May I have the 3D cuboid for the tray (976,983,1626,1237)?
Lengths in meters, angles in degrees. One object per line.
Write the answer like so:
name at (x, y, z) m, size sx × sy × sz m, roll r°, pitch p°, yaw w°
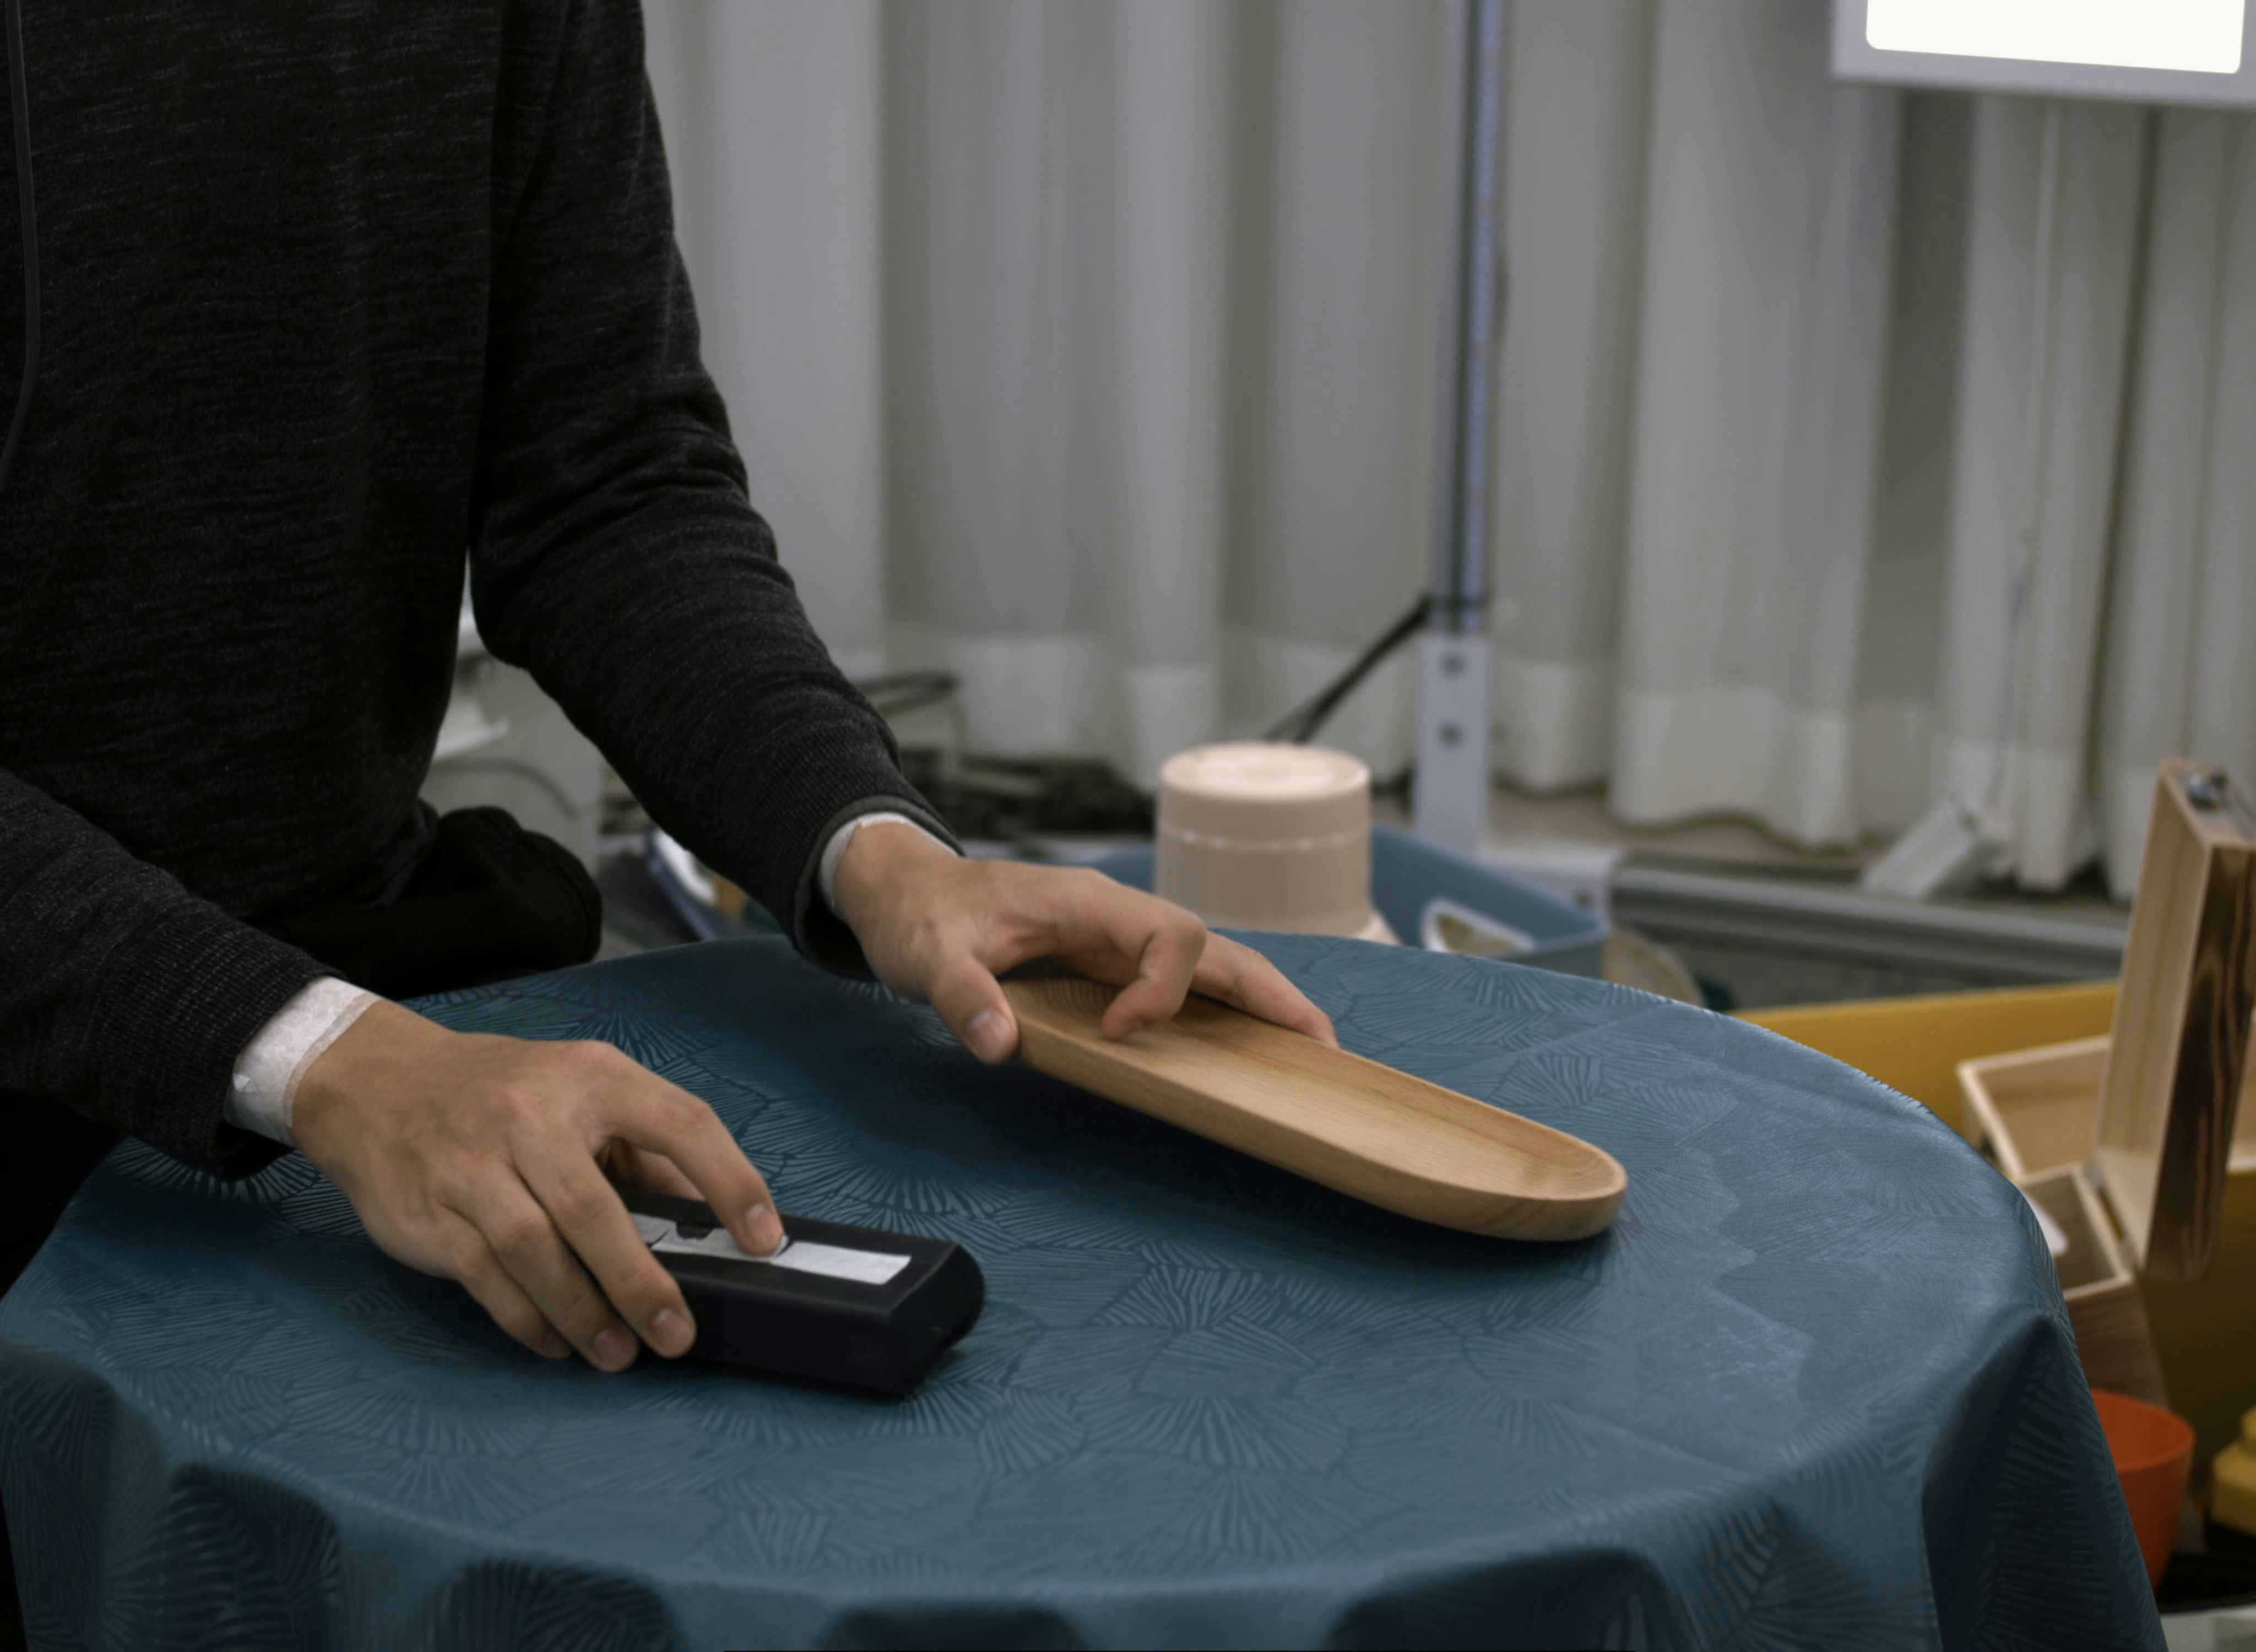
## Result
tray at (0.051, 0.087, 1.634) m, size 0.228 × 0.020 × 0.102 m, roll 17°, pitch 12°, yaw 36°

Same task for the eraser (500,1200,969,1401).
eraser at (-0.110, 0.133, 1.484) m, size 0.124 × 0.031 × 0.053 m, roll 6°, pitch 19°, yaw 21°
